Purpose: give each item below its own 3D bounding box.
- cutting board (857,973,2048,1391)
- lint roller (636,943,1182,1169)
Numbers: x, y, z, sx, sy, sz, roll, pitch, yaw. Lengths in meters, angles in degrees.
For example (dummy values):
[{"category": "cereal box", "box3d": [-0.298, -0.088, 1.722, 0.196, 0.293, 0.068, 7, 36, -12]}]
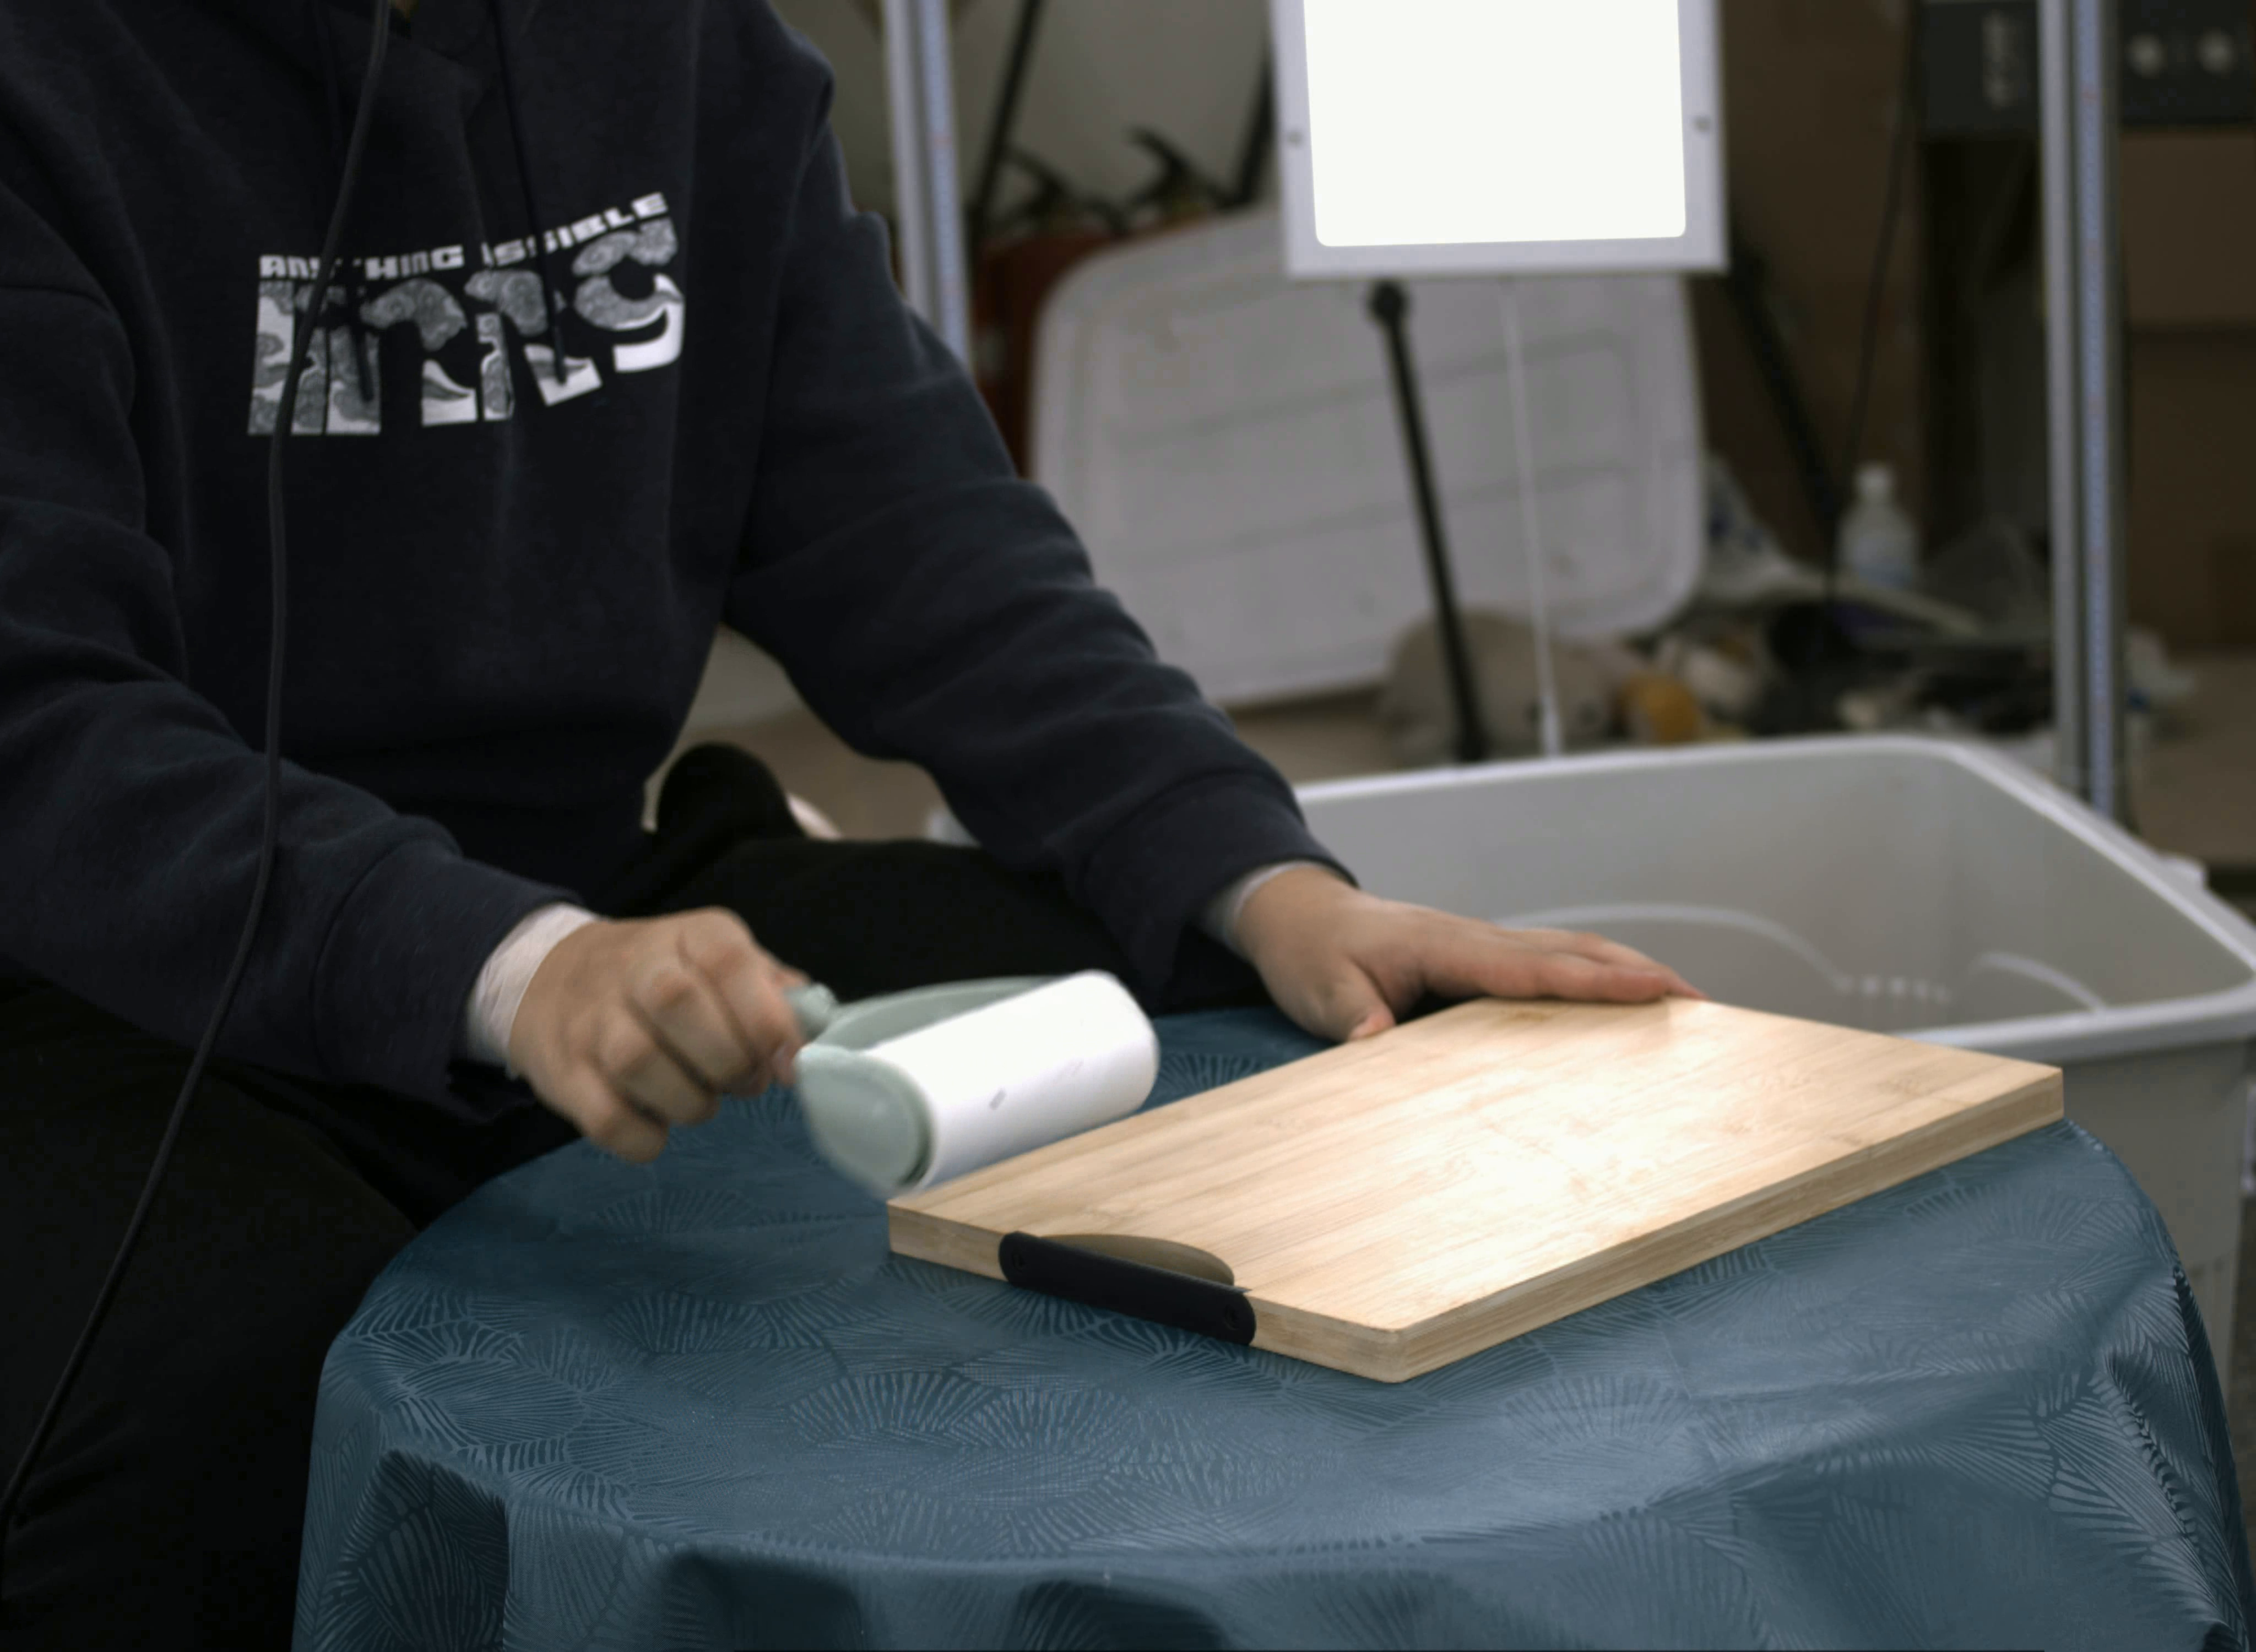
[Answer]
[{"category": "cutting board", "box3d": [0.117, 0.115, 1.871, 0.340, 0.023, 0.256, -17, 17, -40]}, {"category": "lint roller", "box3d": [-0.086, 0.071, 1.775, 0.202, 0.048, 0.114, 1, 16, 43]}]
